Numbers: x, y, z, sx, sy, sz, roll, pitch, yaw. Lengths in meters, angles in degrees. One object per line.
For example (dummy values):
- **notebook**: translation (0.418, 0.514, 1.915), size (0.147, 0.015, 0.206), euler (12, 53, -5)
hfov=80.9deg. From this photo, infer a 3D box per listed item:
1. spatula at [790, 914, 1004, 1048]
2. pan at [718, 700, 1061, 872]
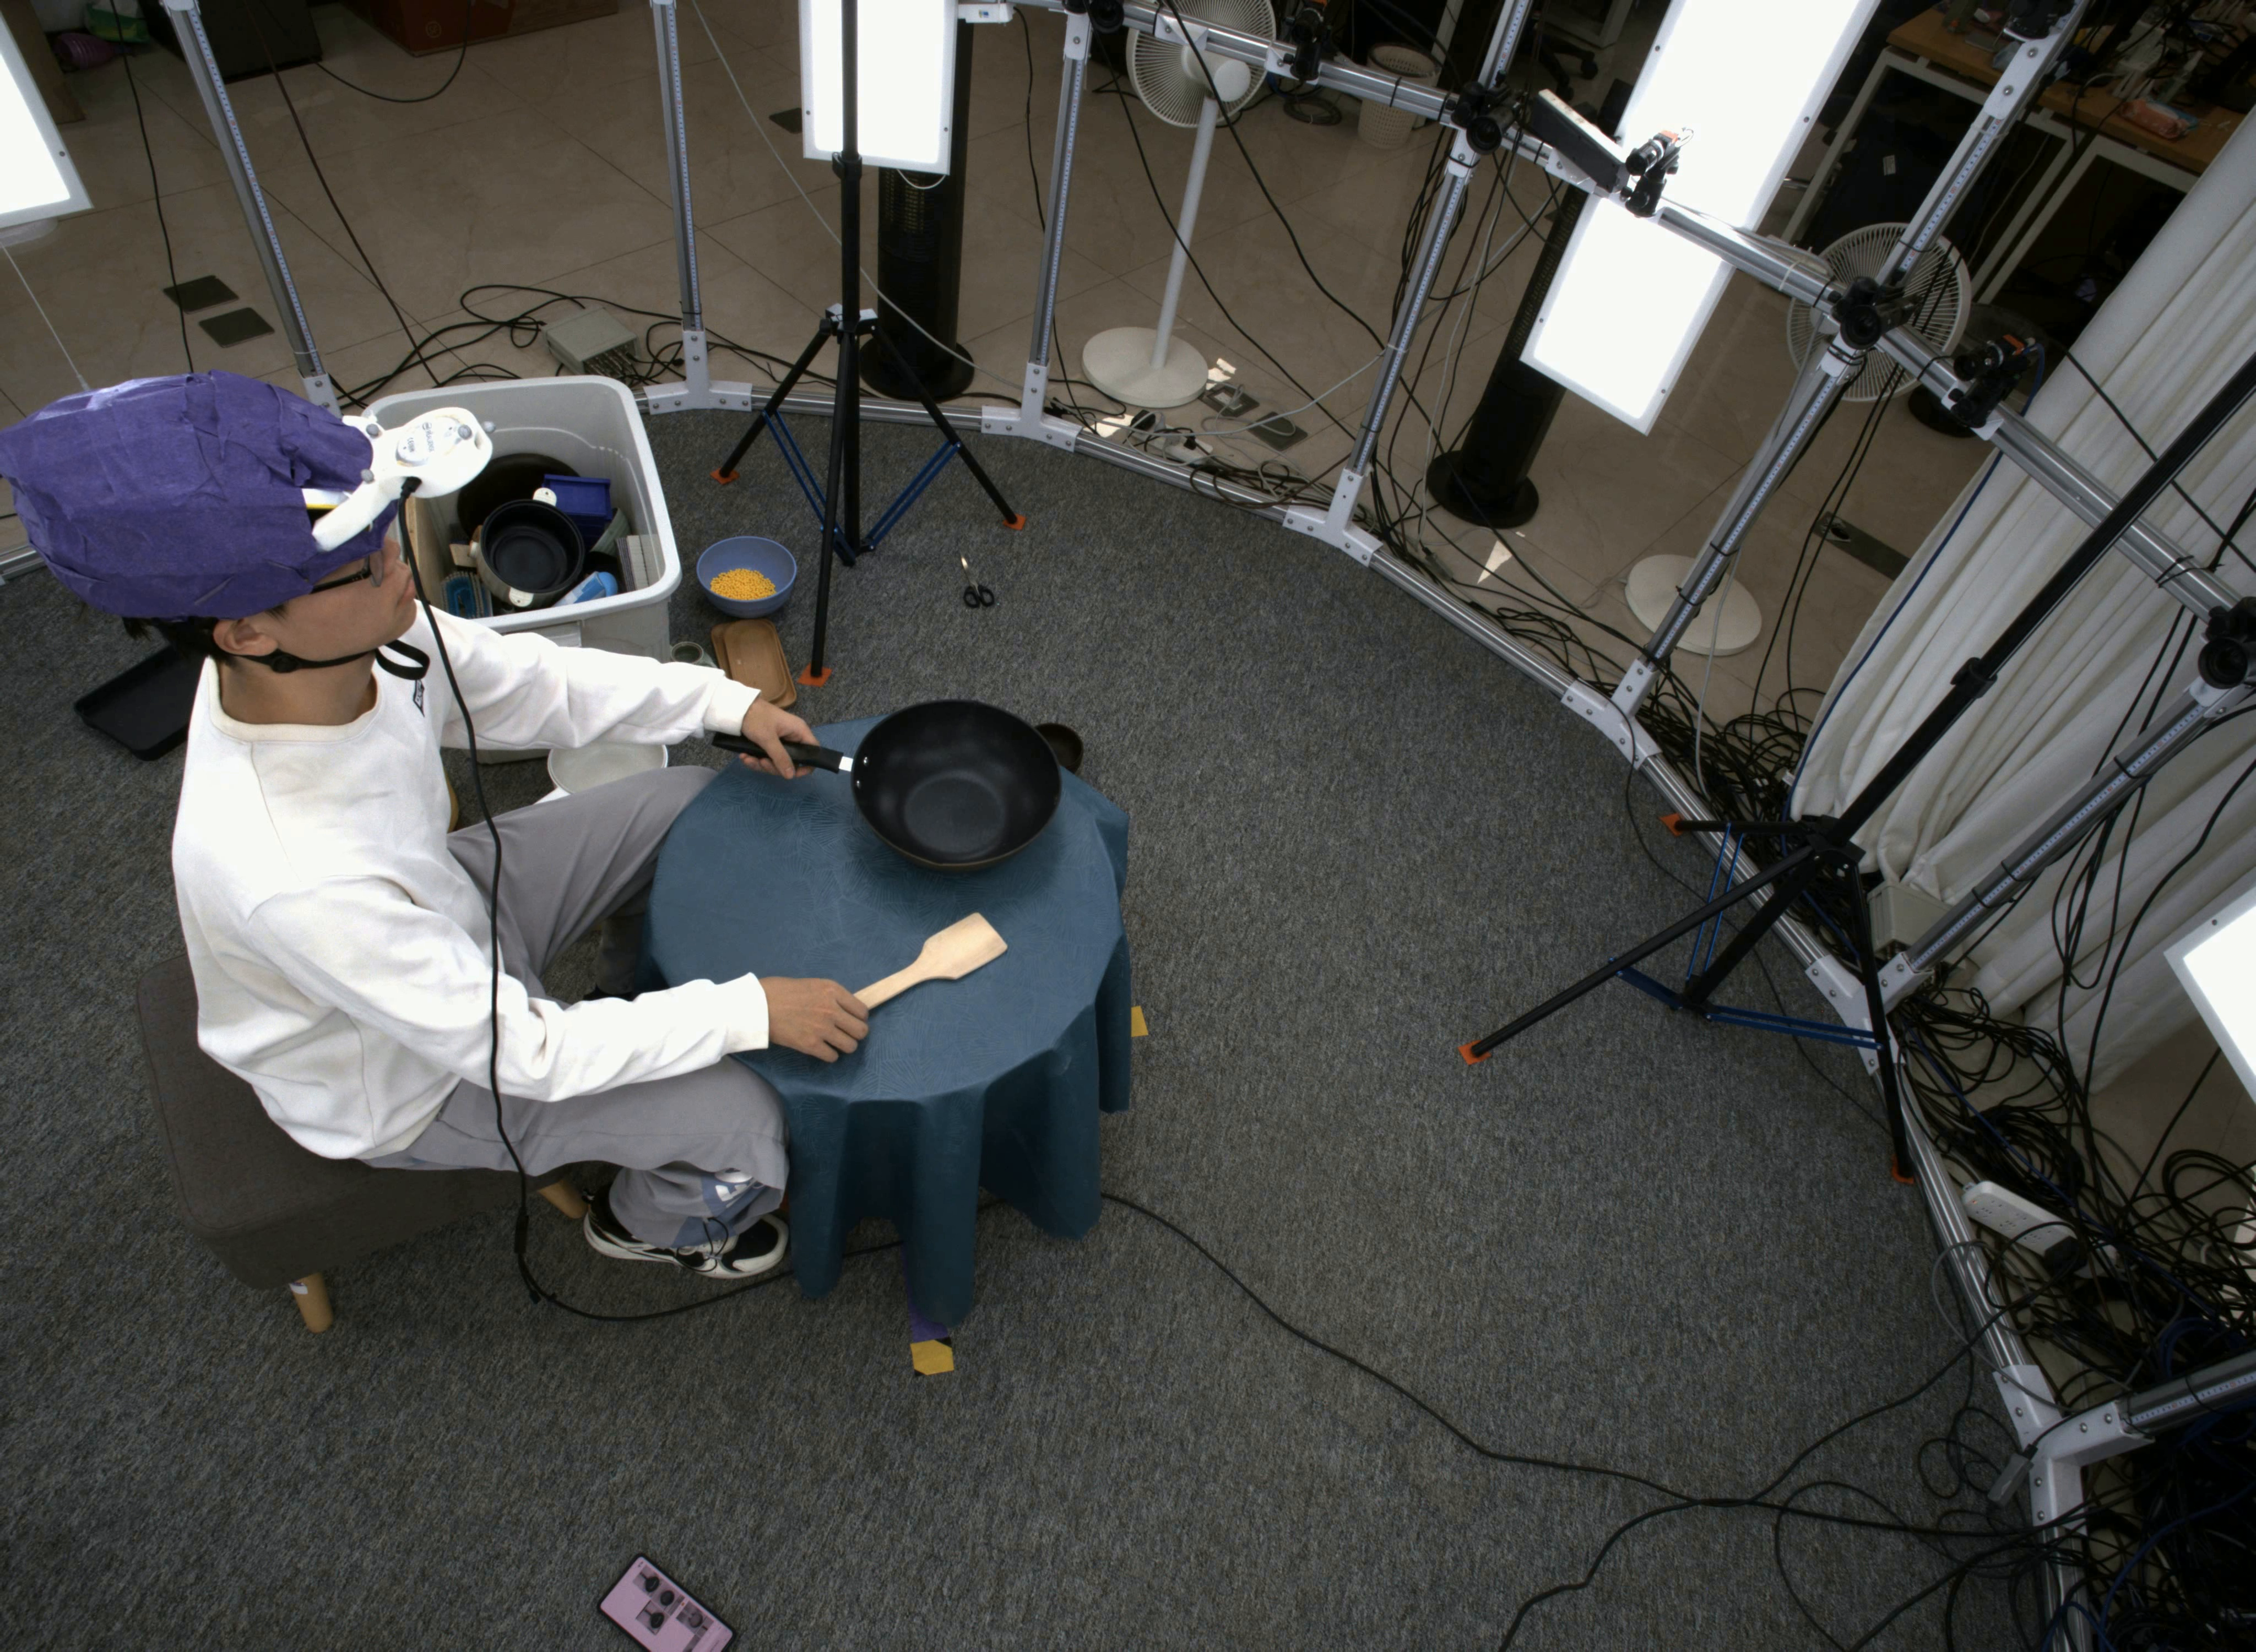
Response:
- **spatula**: translation (-0.287, 0.195, 1.612), size (0.294, 0.011, 0.070), euler (-28, 64, -33)
- **pan**: translation (-0.320, -0.056, 1.749), size (0.460, 0.089, 0.283), euler (10, 52, -5)
